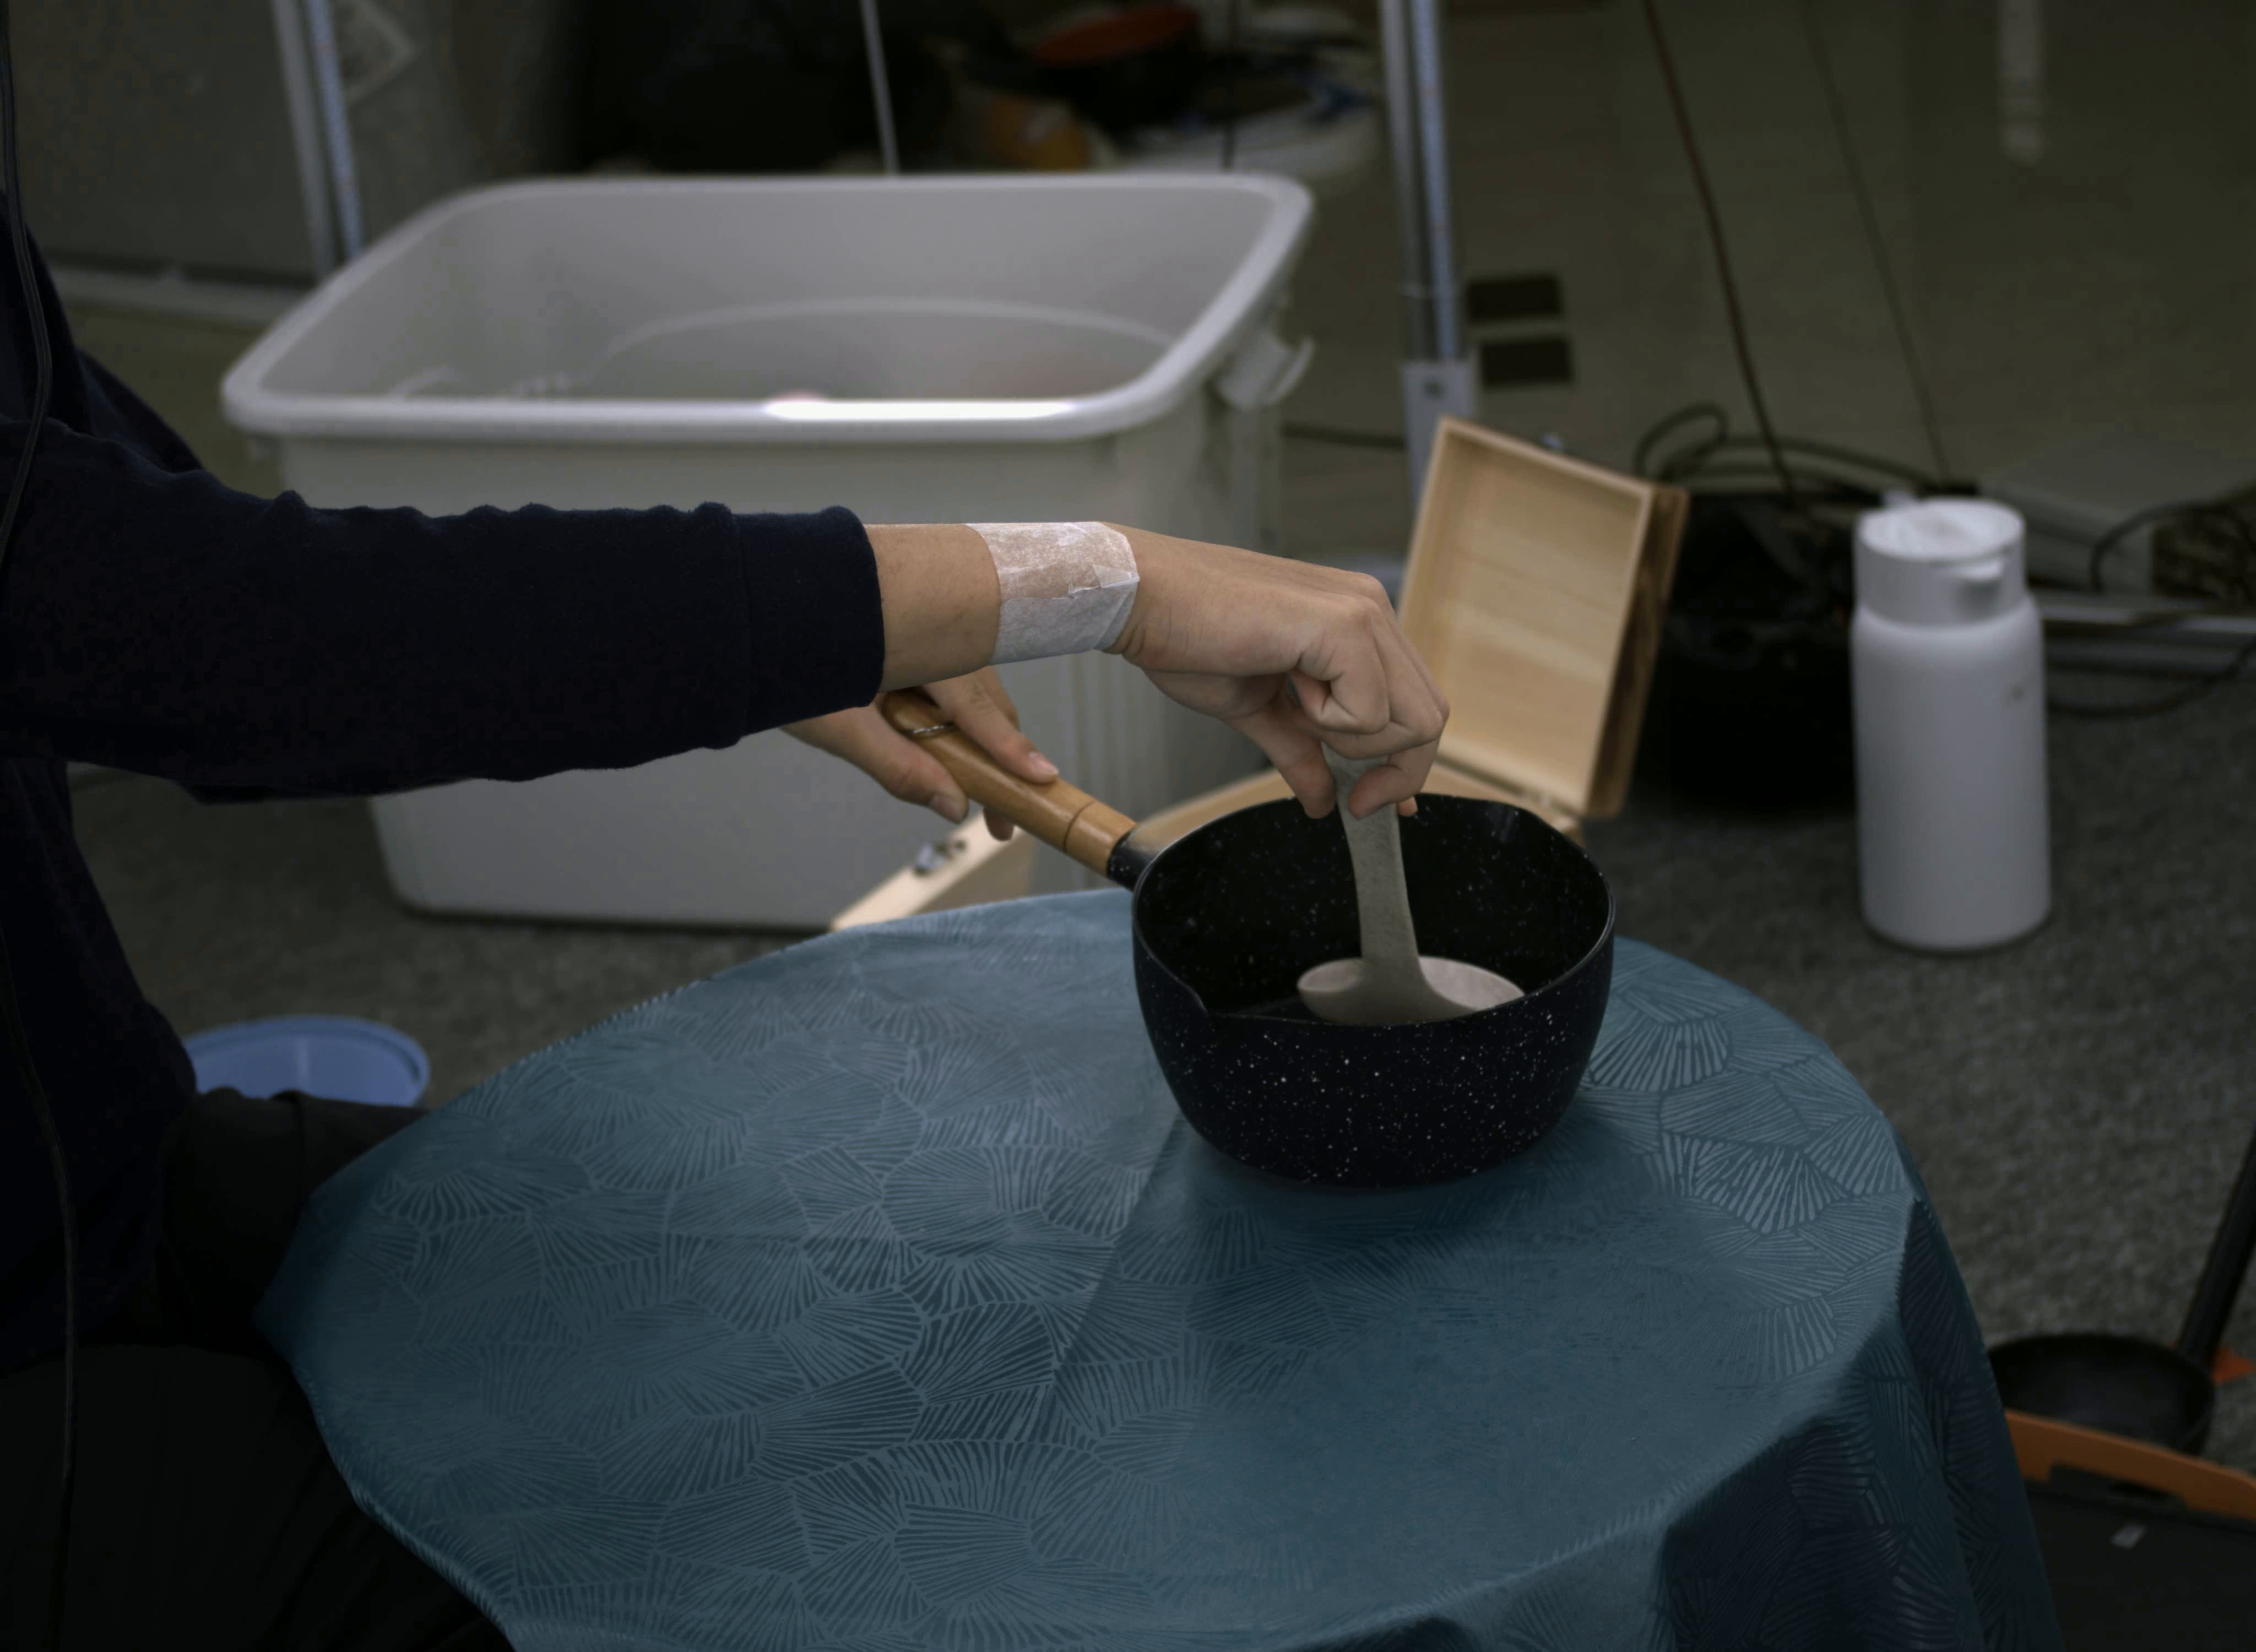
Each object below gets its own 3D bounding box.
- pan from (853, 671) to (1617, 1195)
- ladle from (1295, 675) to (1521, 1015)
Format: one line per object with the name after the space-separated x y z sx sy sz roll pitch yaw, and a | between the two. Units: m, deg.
0.029 0.034 2.201 0.340 0.110 0.205 19 36 31 | pan
0.094 0.002 2.098 0.089 0.280 0.068 11 58 16 | ladle
